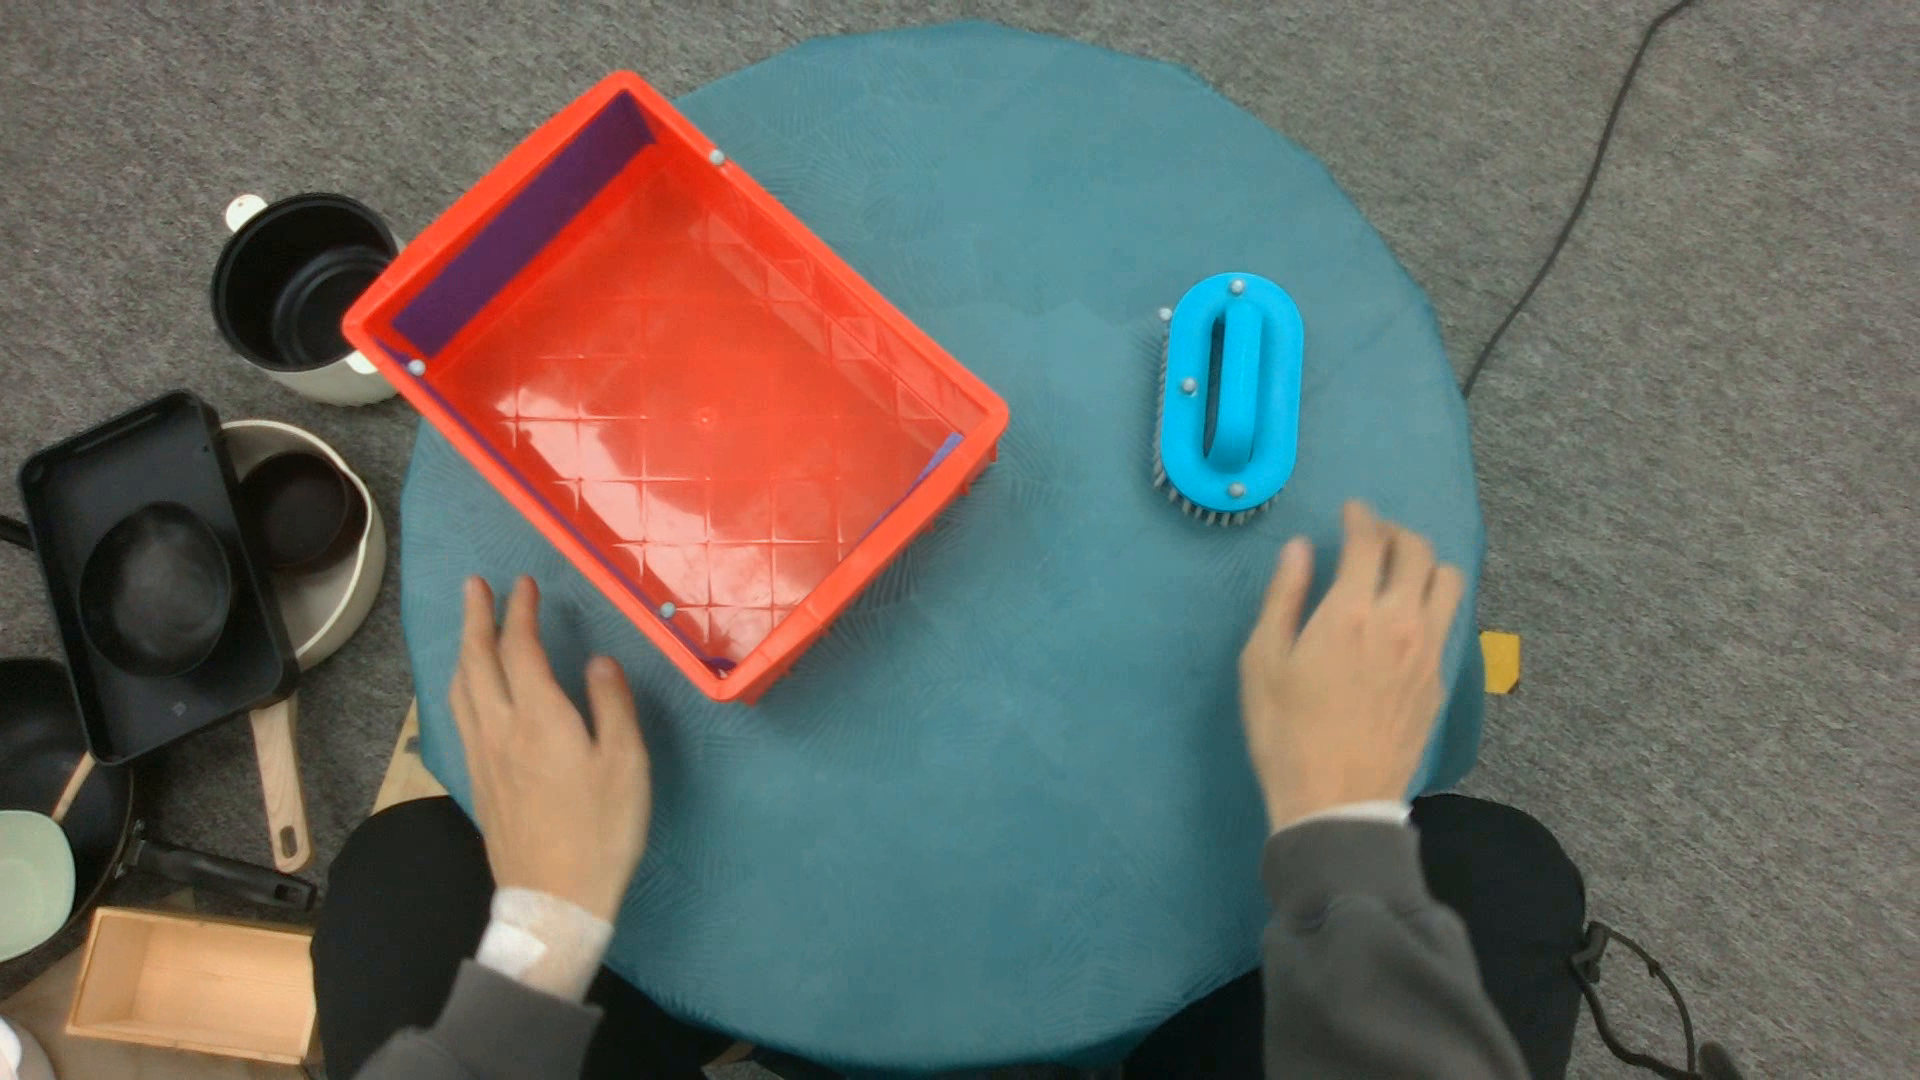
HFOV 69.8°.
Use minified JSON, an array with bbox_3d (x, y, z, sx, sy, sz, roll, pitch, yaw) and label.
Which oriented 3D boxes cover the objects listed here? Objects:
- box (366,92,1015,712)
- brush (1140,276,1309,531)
[{"bbox_3d":[-0.141,-0.072,0.758,0.304,0.096,0.207,43,82,13],"label":"box"},{"bbox_3d":[0.147,-0.079,0.752,0.084,0.063,0.142,9,77,1],"label":"brush"}]
